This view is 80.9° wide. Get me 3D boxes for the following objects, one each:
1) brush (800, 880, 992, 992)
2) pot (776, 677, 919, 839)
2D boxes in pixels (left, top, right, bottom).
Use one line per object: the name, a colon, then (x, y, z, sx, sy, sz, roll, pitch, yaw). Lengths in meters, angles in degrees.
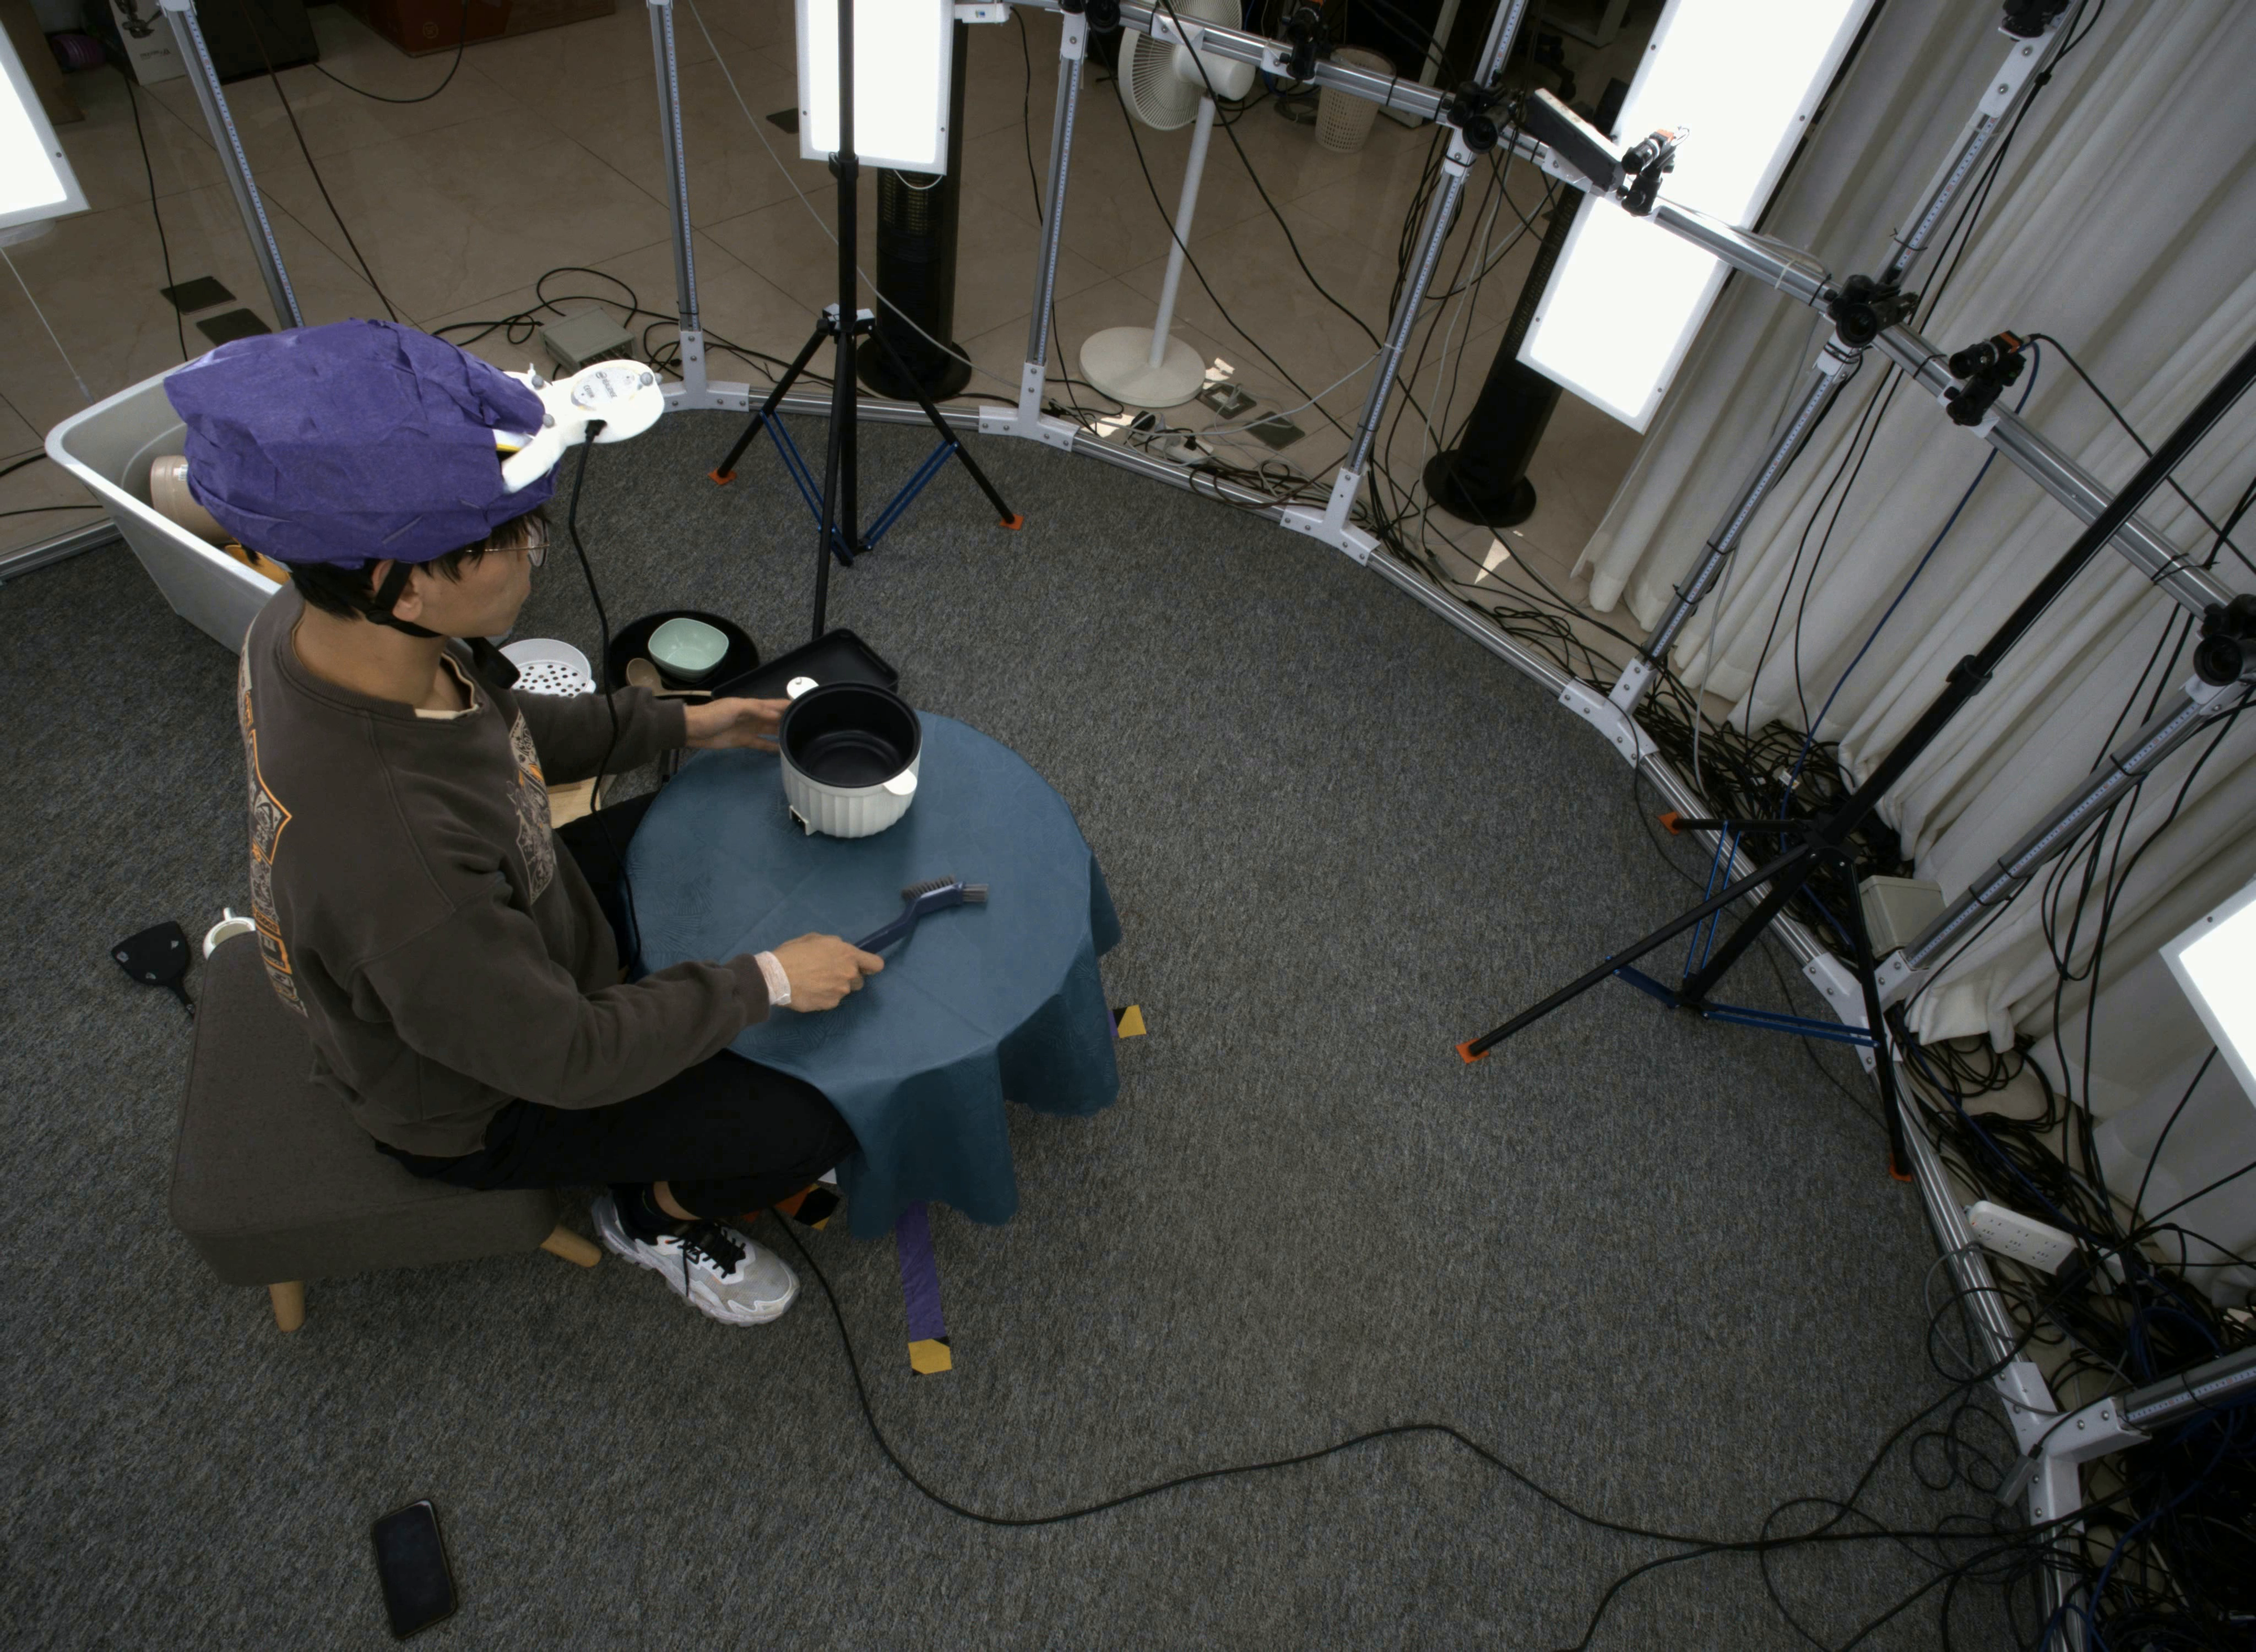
brush: (-0.290, 0.135, 1.630, 0.093, 0.034, 0.273, 28, 42, 22)
pot: (-0.365, -0.085, 1.726, 0.235, 0.145, 0.191, 41, 59, 17)
